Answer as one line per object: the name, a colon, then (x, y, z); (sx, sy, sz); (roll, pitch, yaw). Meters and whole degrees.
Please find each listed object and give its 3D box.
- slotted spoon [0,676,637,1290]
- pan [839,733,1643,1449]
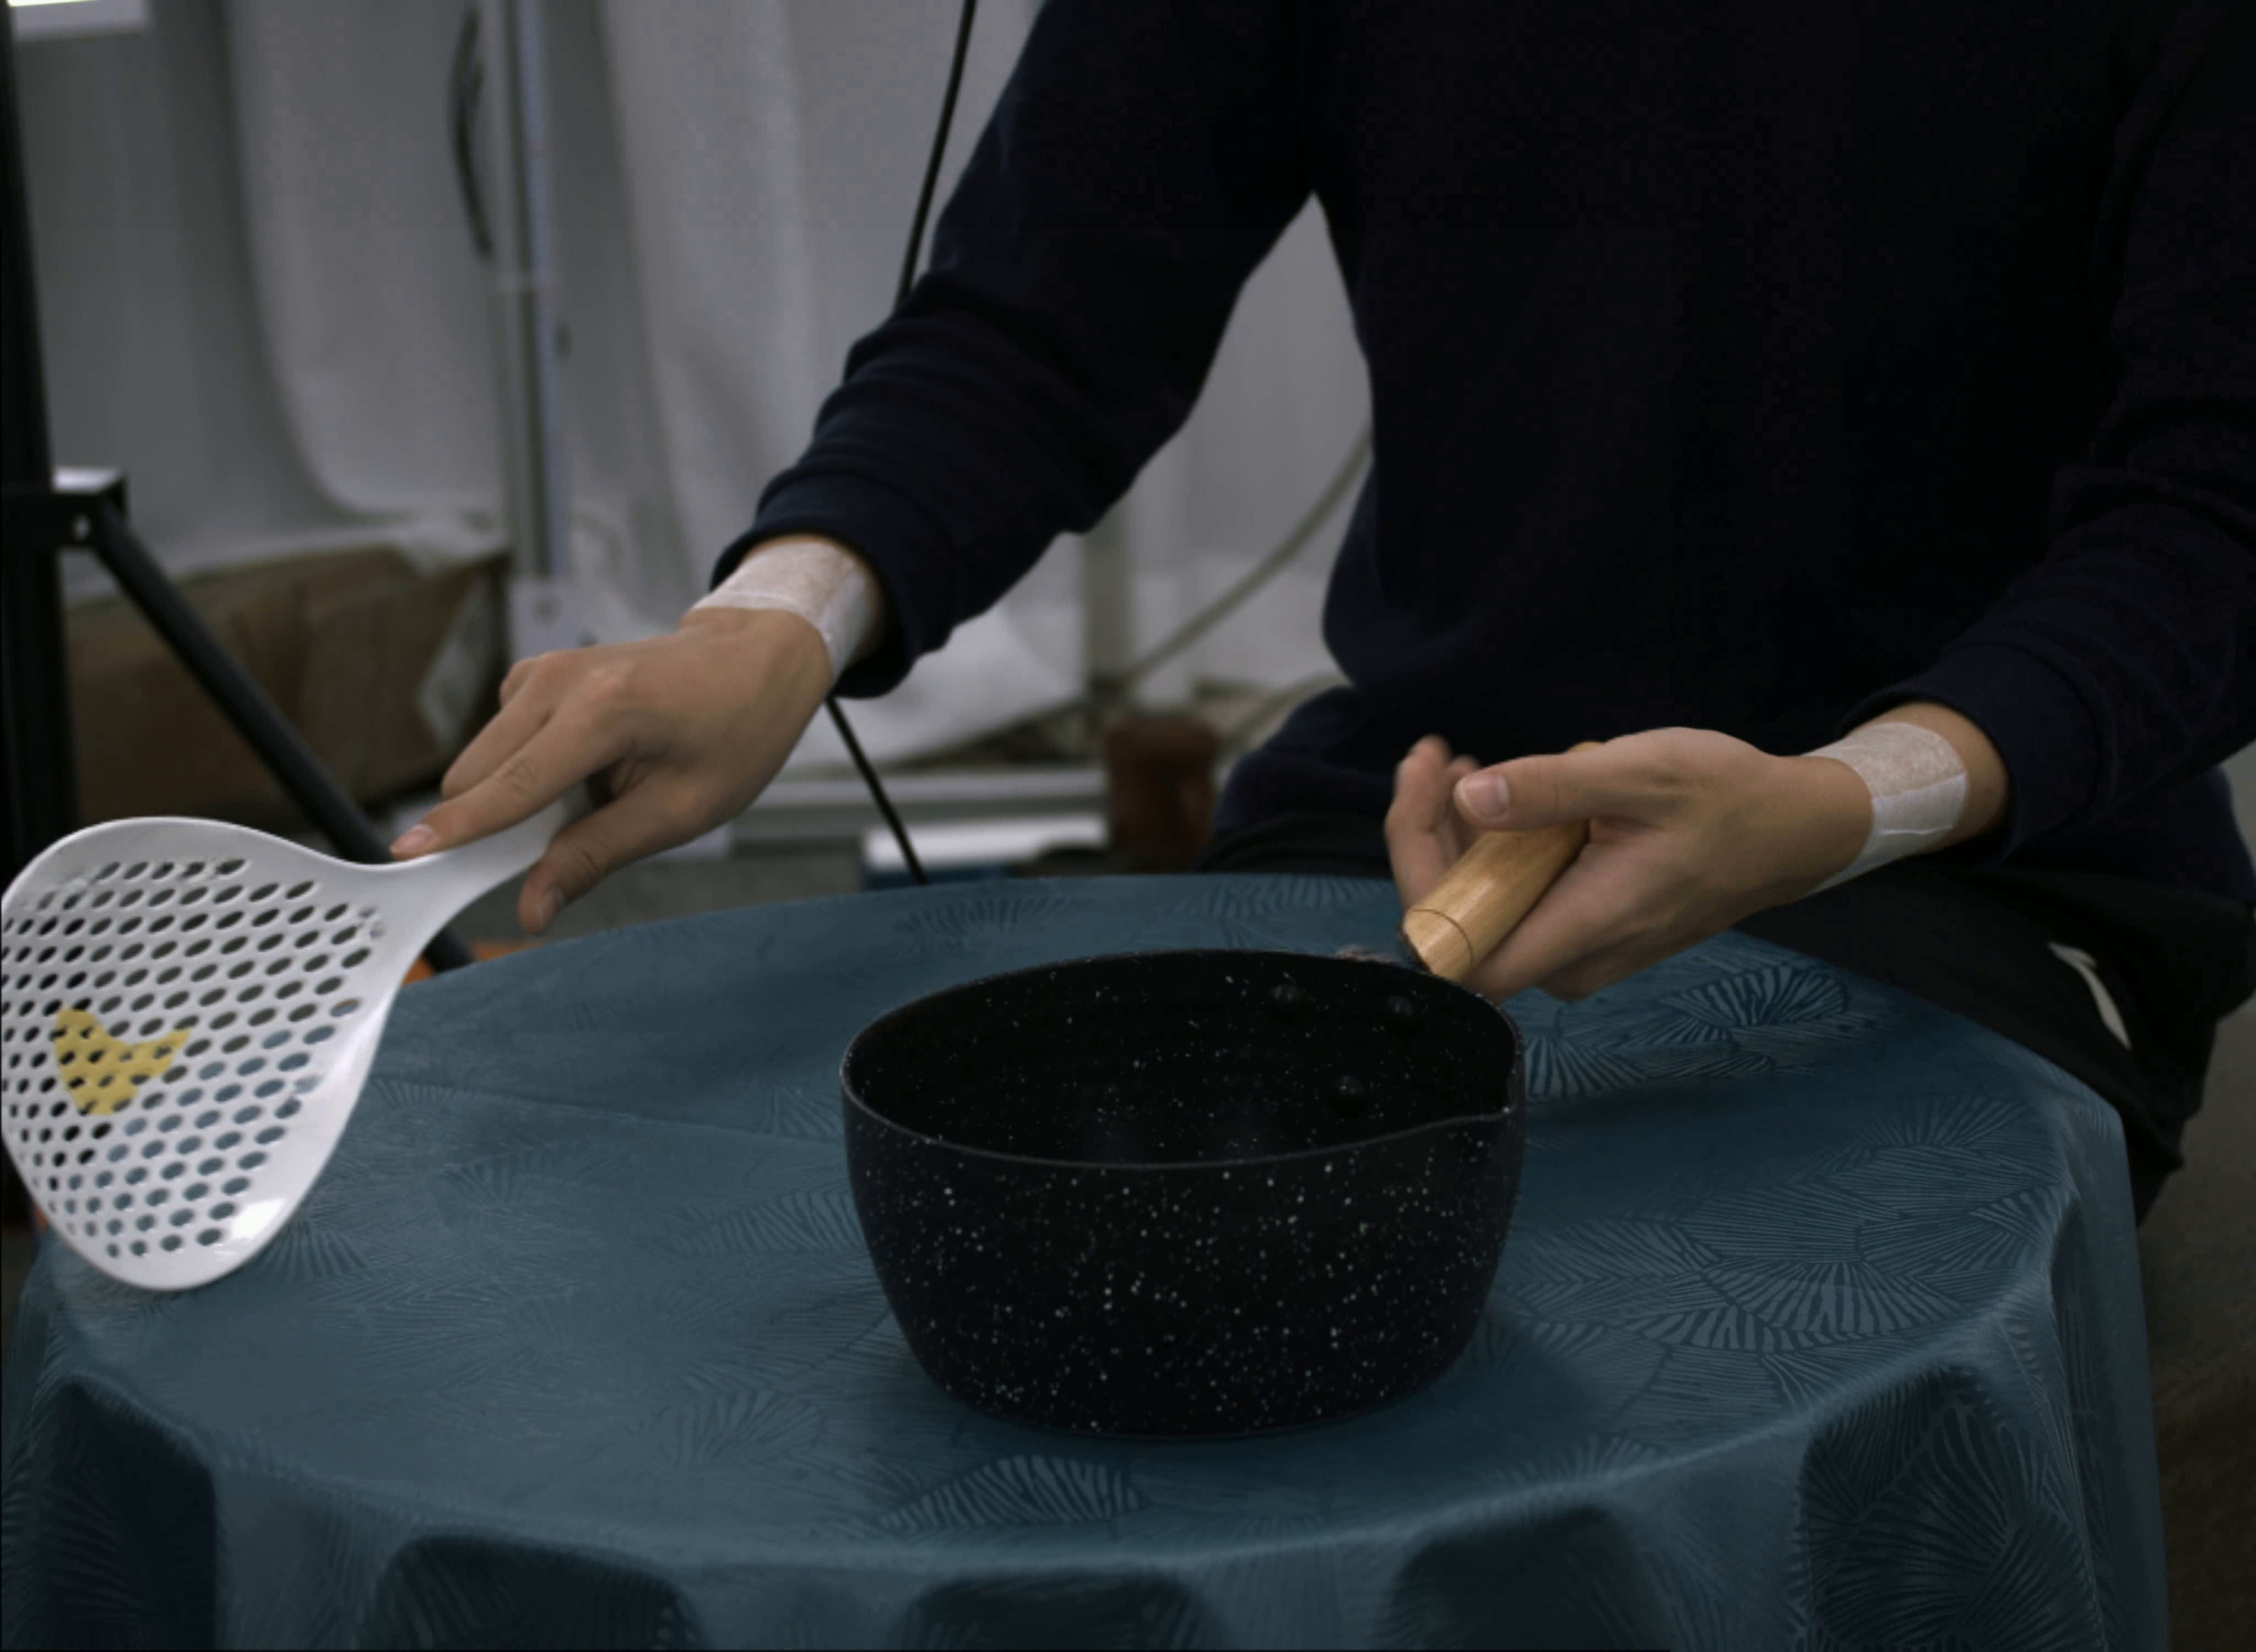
slotted spoon: (-0.234, 0.025, 1.620); (0.051, 0.136, 0.342); (-14, 14, 39)
pan: (0.057, 0.069, 1.488); (0.211, 0.108, 0.336); (6, 19, 32)
